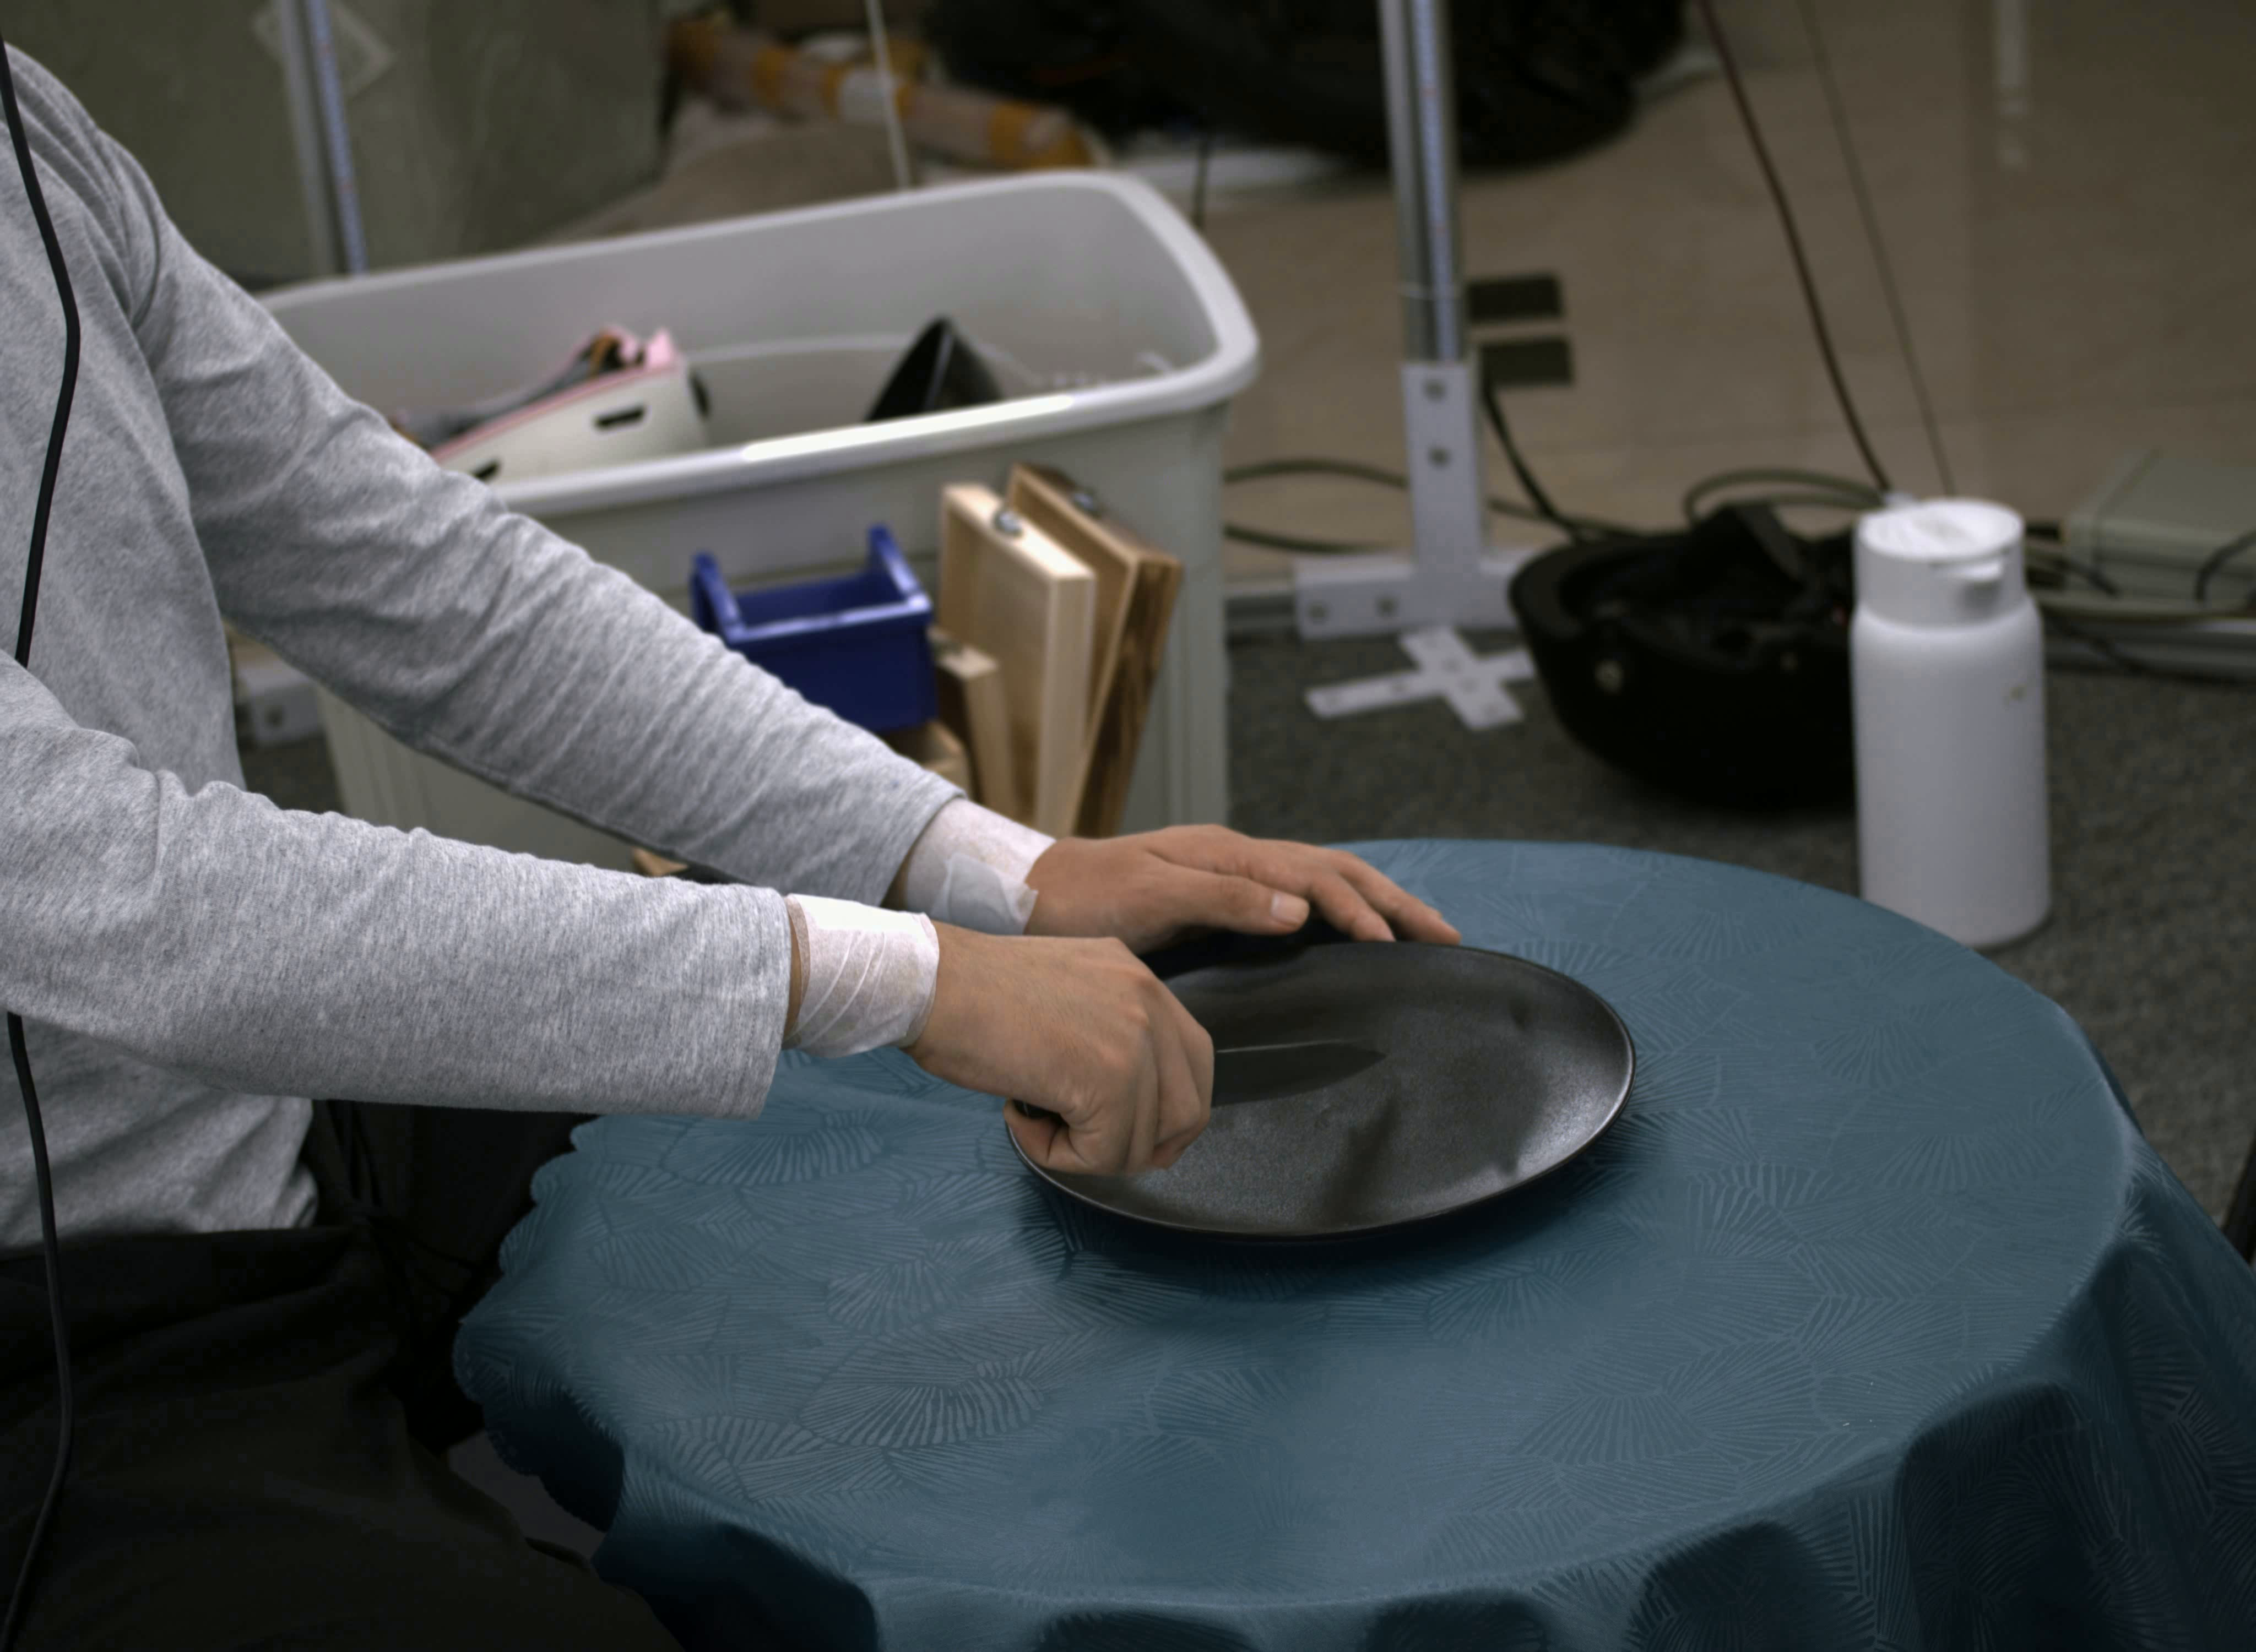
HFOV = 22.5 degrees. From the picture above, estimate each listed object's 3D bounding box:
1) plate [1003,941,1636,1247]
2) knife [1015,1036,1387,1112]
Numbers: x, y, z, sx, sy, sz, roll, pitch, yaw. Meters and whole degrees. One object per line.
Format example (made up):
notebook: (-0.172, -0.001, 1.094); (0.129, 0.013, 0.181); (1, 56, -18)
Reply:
plate: (0.074, 0.108, 2.175); (0.244, 0.024, 0.241); (-6, 25, 3)
knife: (0.032, 0.089, 2.096); (0.016, 0.024, 0.238); (14, 9, 34)
